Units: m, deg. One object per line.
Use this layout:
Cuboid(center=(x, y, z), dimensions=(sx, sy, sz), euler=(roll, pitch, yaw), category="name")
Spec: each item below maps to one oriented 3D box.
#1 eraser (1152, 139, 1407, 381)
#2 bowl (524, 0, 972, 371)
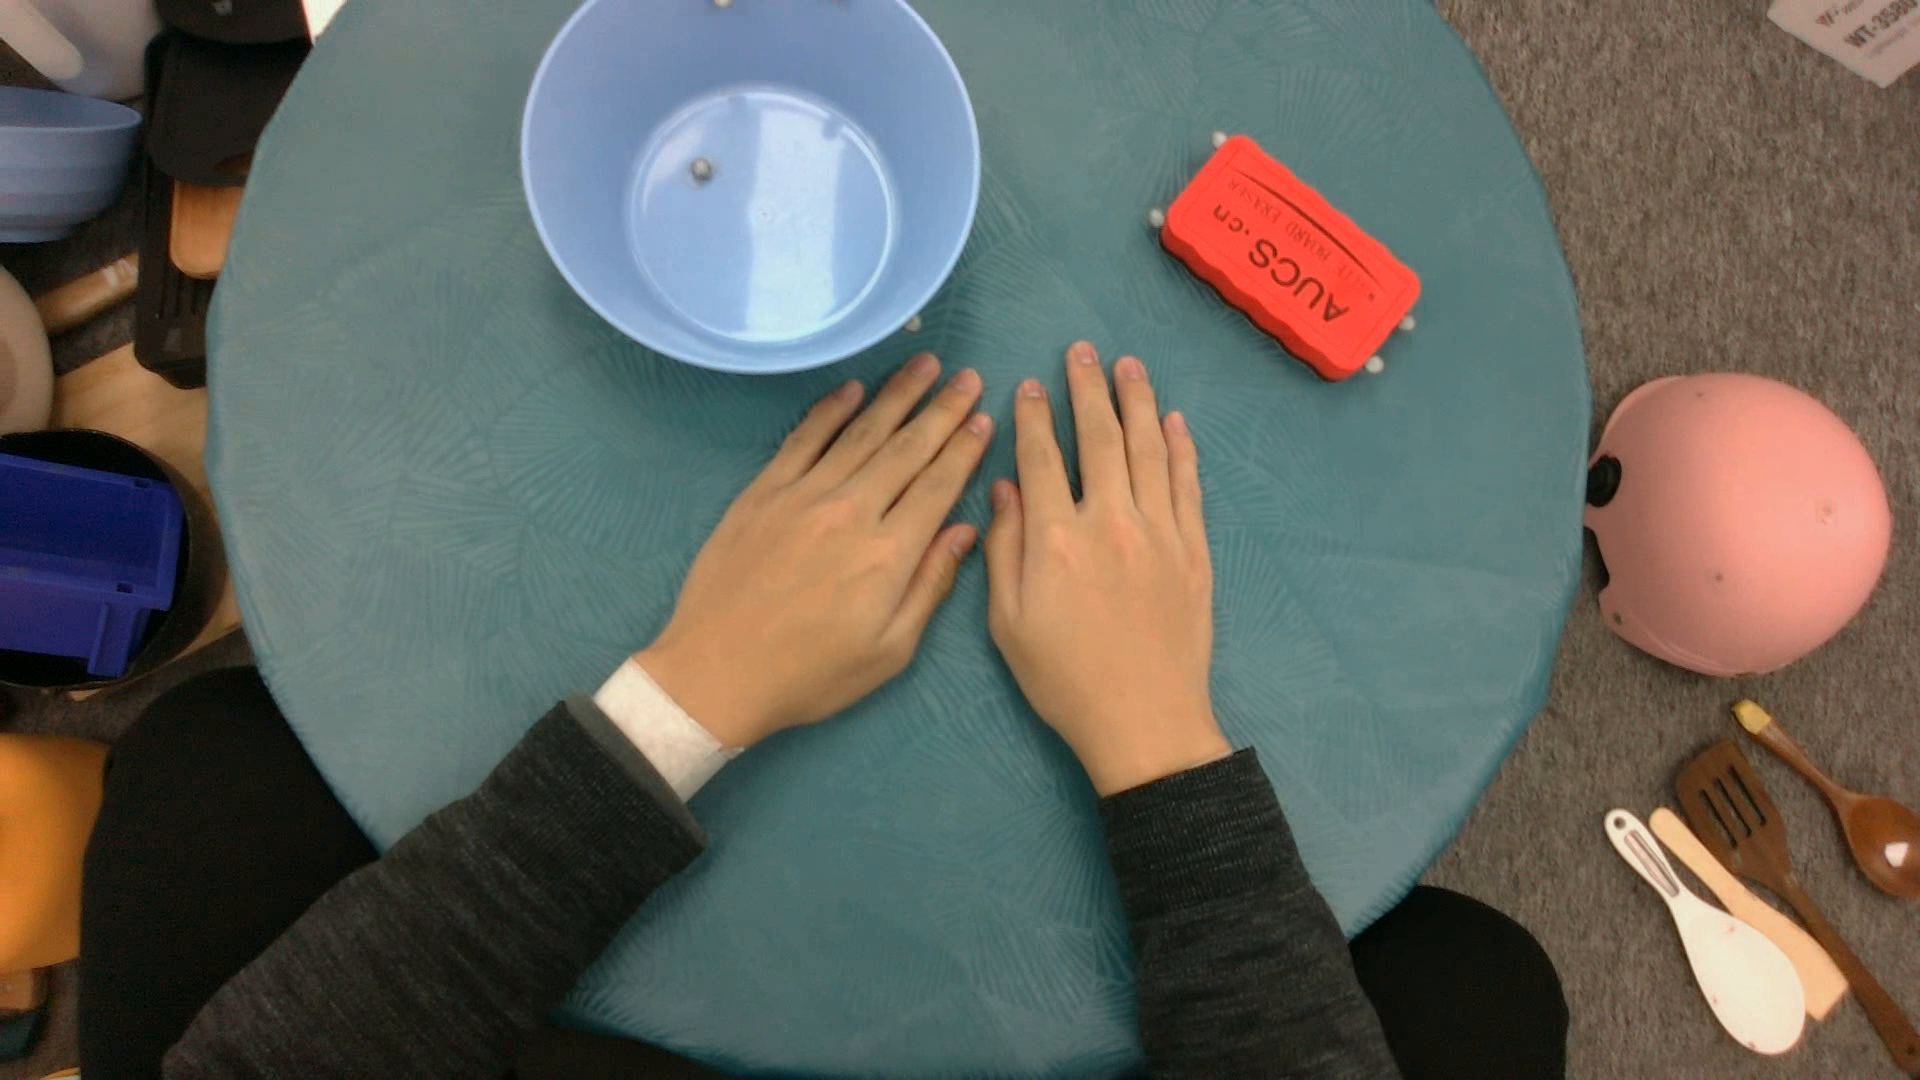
Cuboid(center=(0.143, -0.126, 0.617), dimensions=(0.108, 0.023, 0.059), euler=(40, 76, 2), category="eraser")
Cuboid(center=(-0.085, -0.145, 0.572), dimensions=(0.176, 0.070, 0.176), euler=(1, 79, -6), category="bowl")
